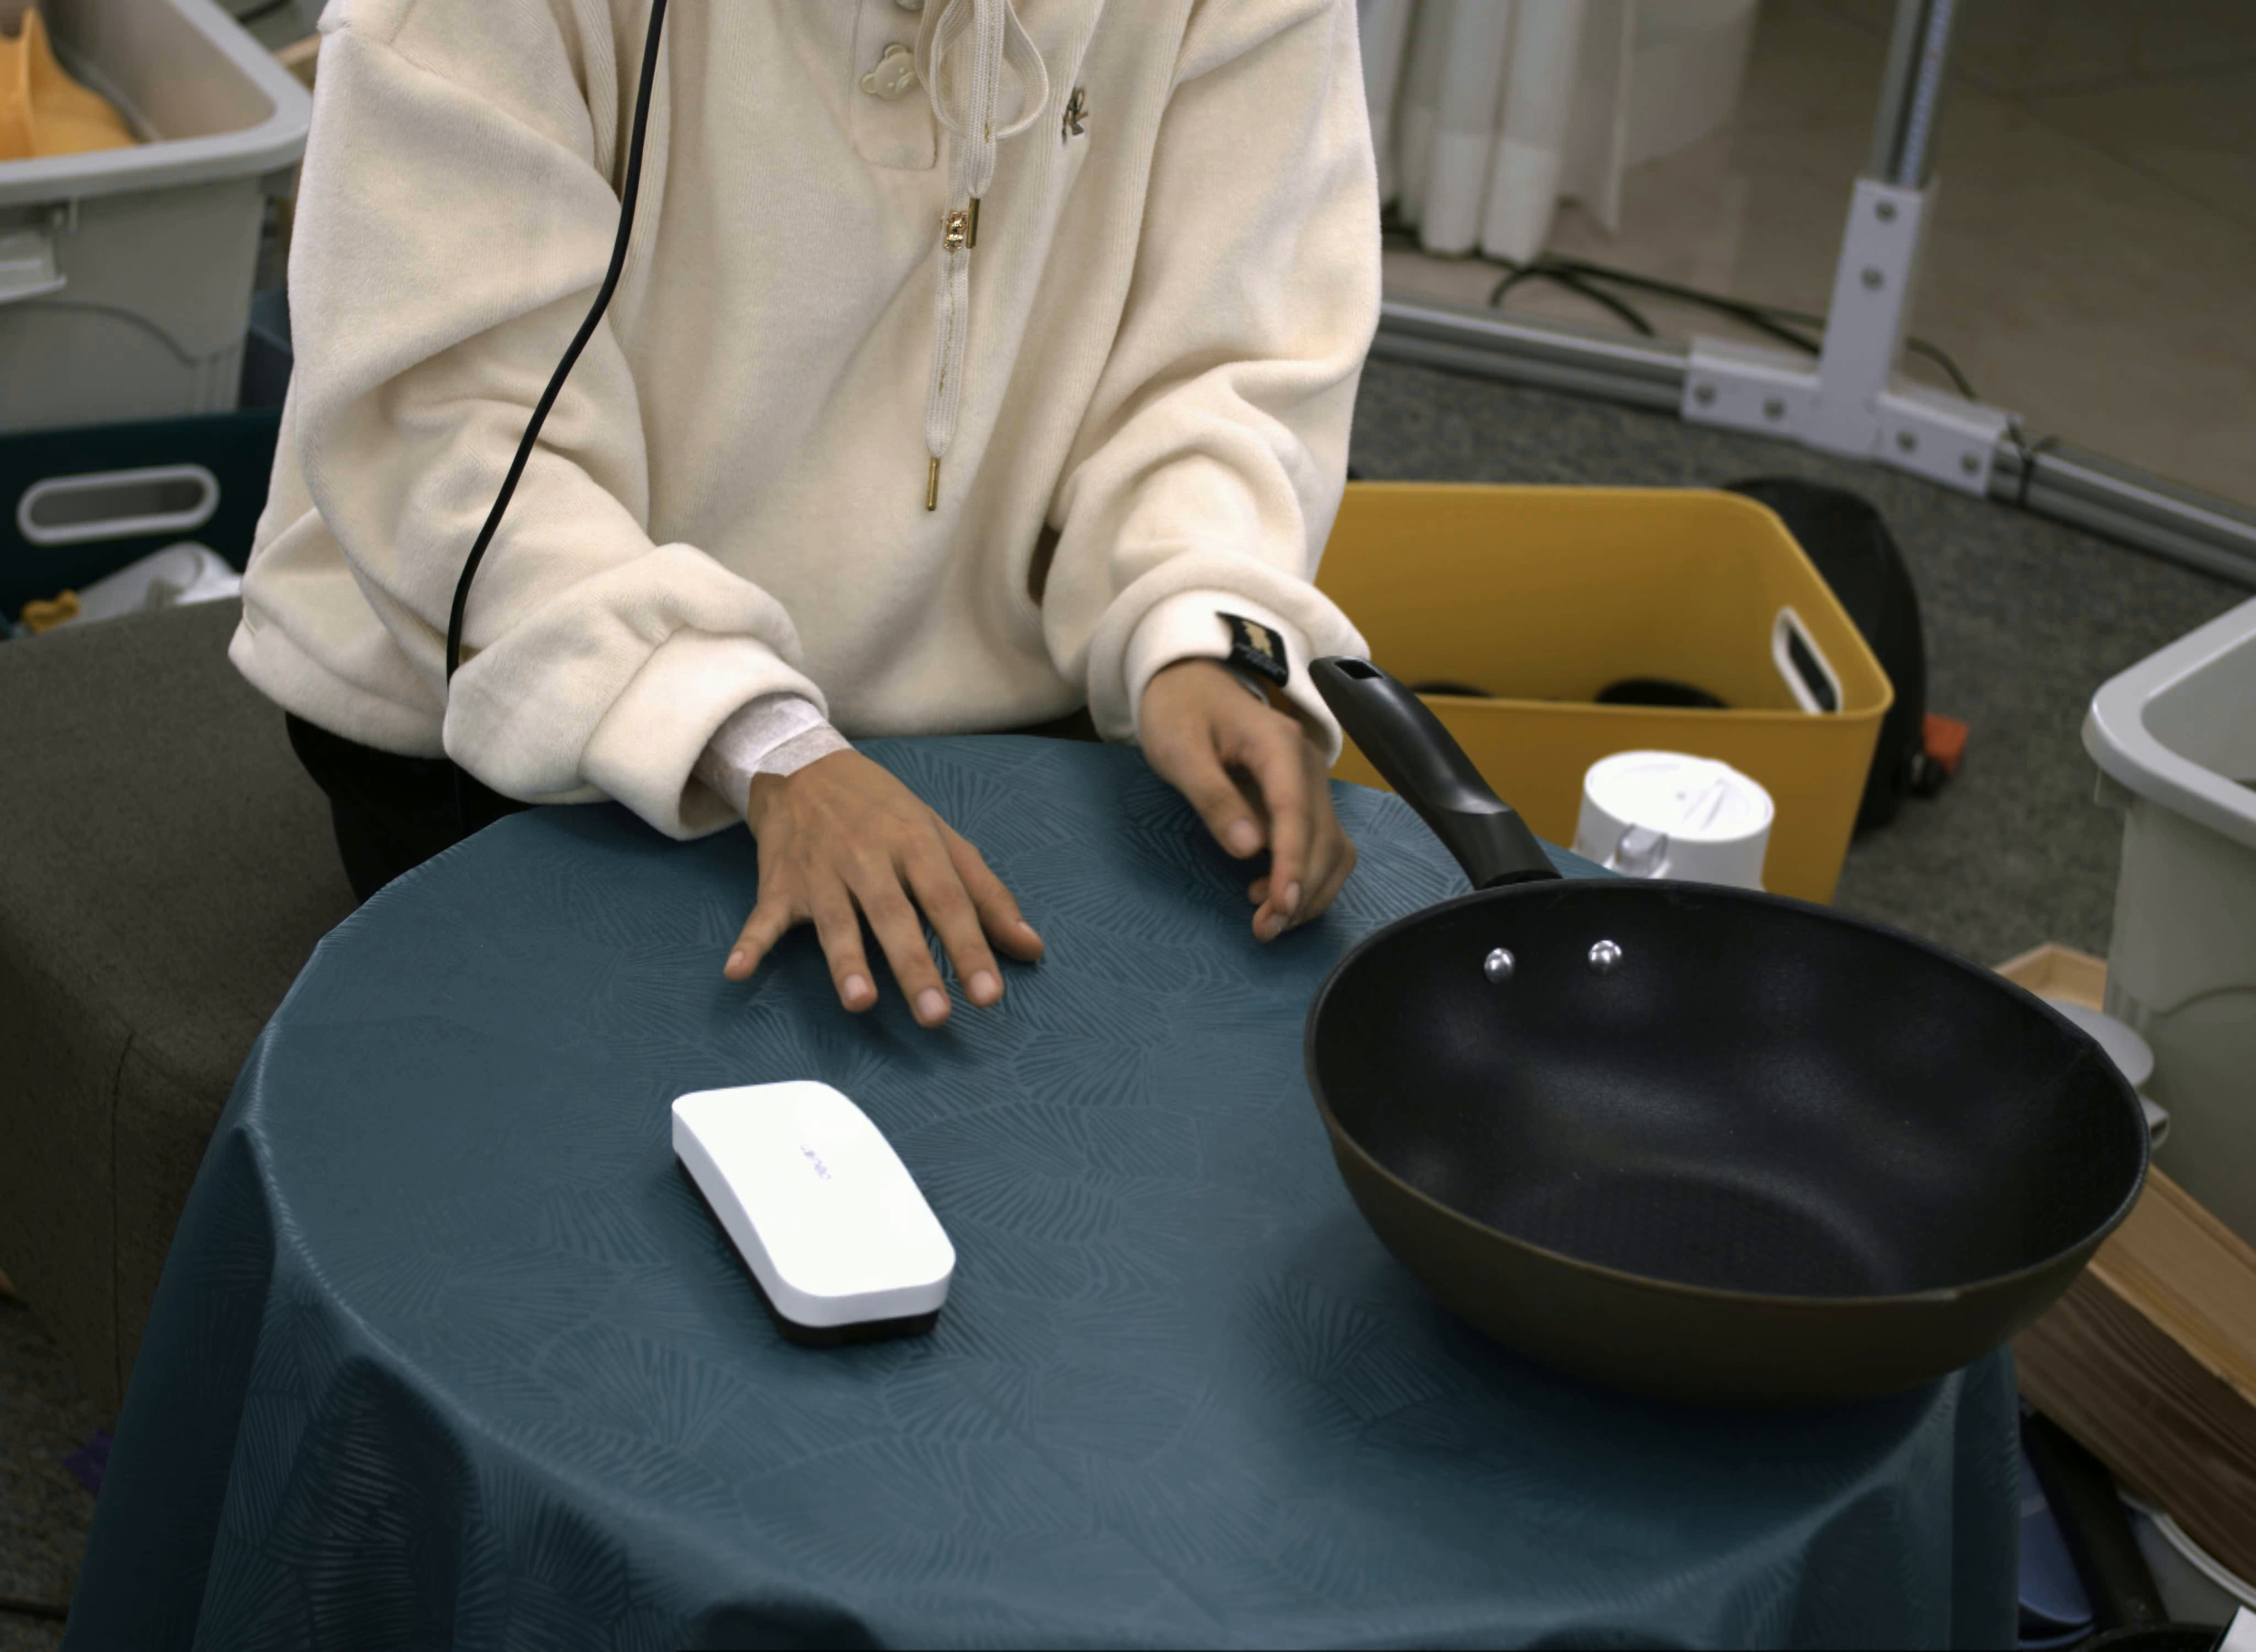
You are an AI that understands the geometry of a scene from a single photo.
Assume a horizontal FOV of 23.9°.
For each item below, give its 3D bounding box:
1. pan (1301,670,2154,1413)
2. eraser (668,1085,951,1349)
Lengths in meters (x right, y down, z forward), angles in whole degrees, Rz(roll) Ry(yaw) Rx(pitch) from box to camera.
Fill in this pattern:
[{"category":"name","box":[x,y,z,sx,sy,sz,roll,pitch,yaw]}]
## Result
[{"category":"pan","box":[0.160,0.076,1.841,0.286,0.086,0.467,-4,28,-21]},{"category":"eraser","box":[-0.105,0.124,1.745,0.063,0.034,0.132,-3,29,-24]}]
